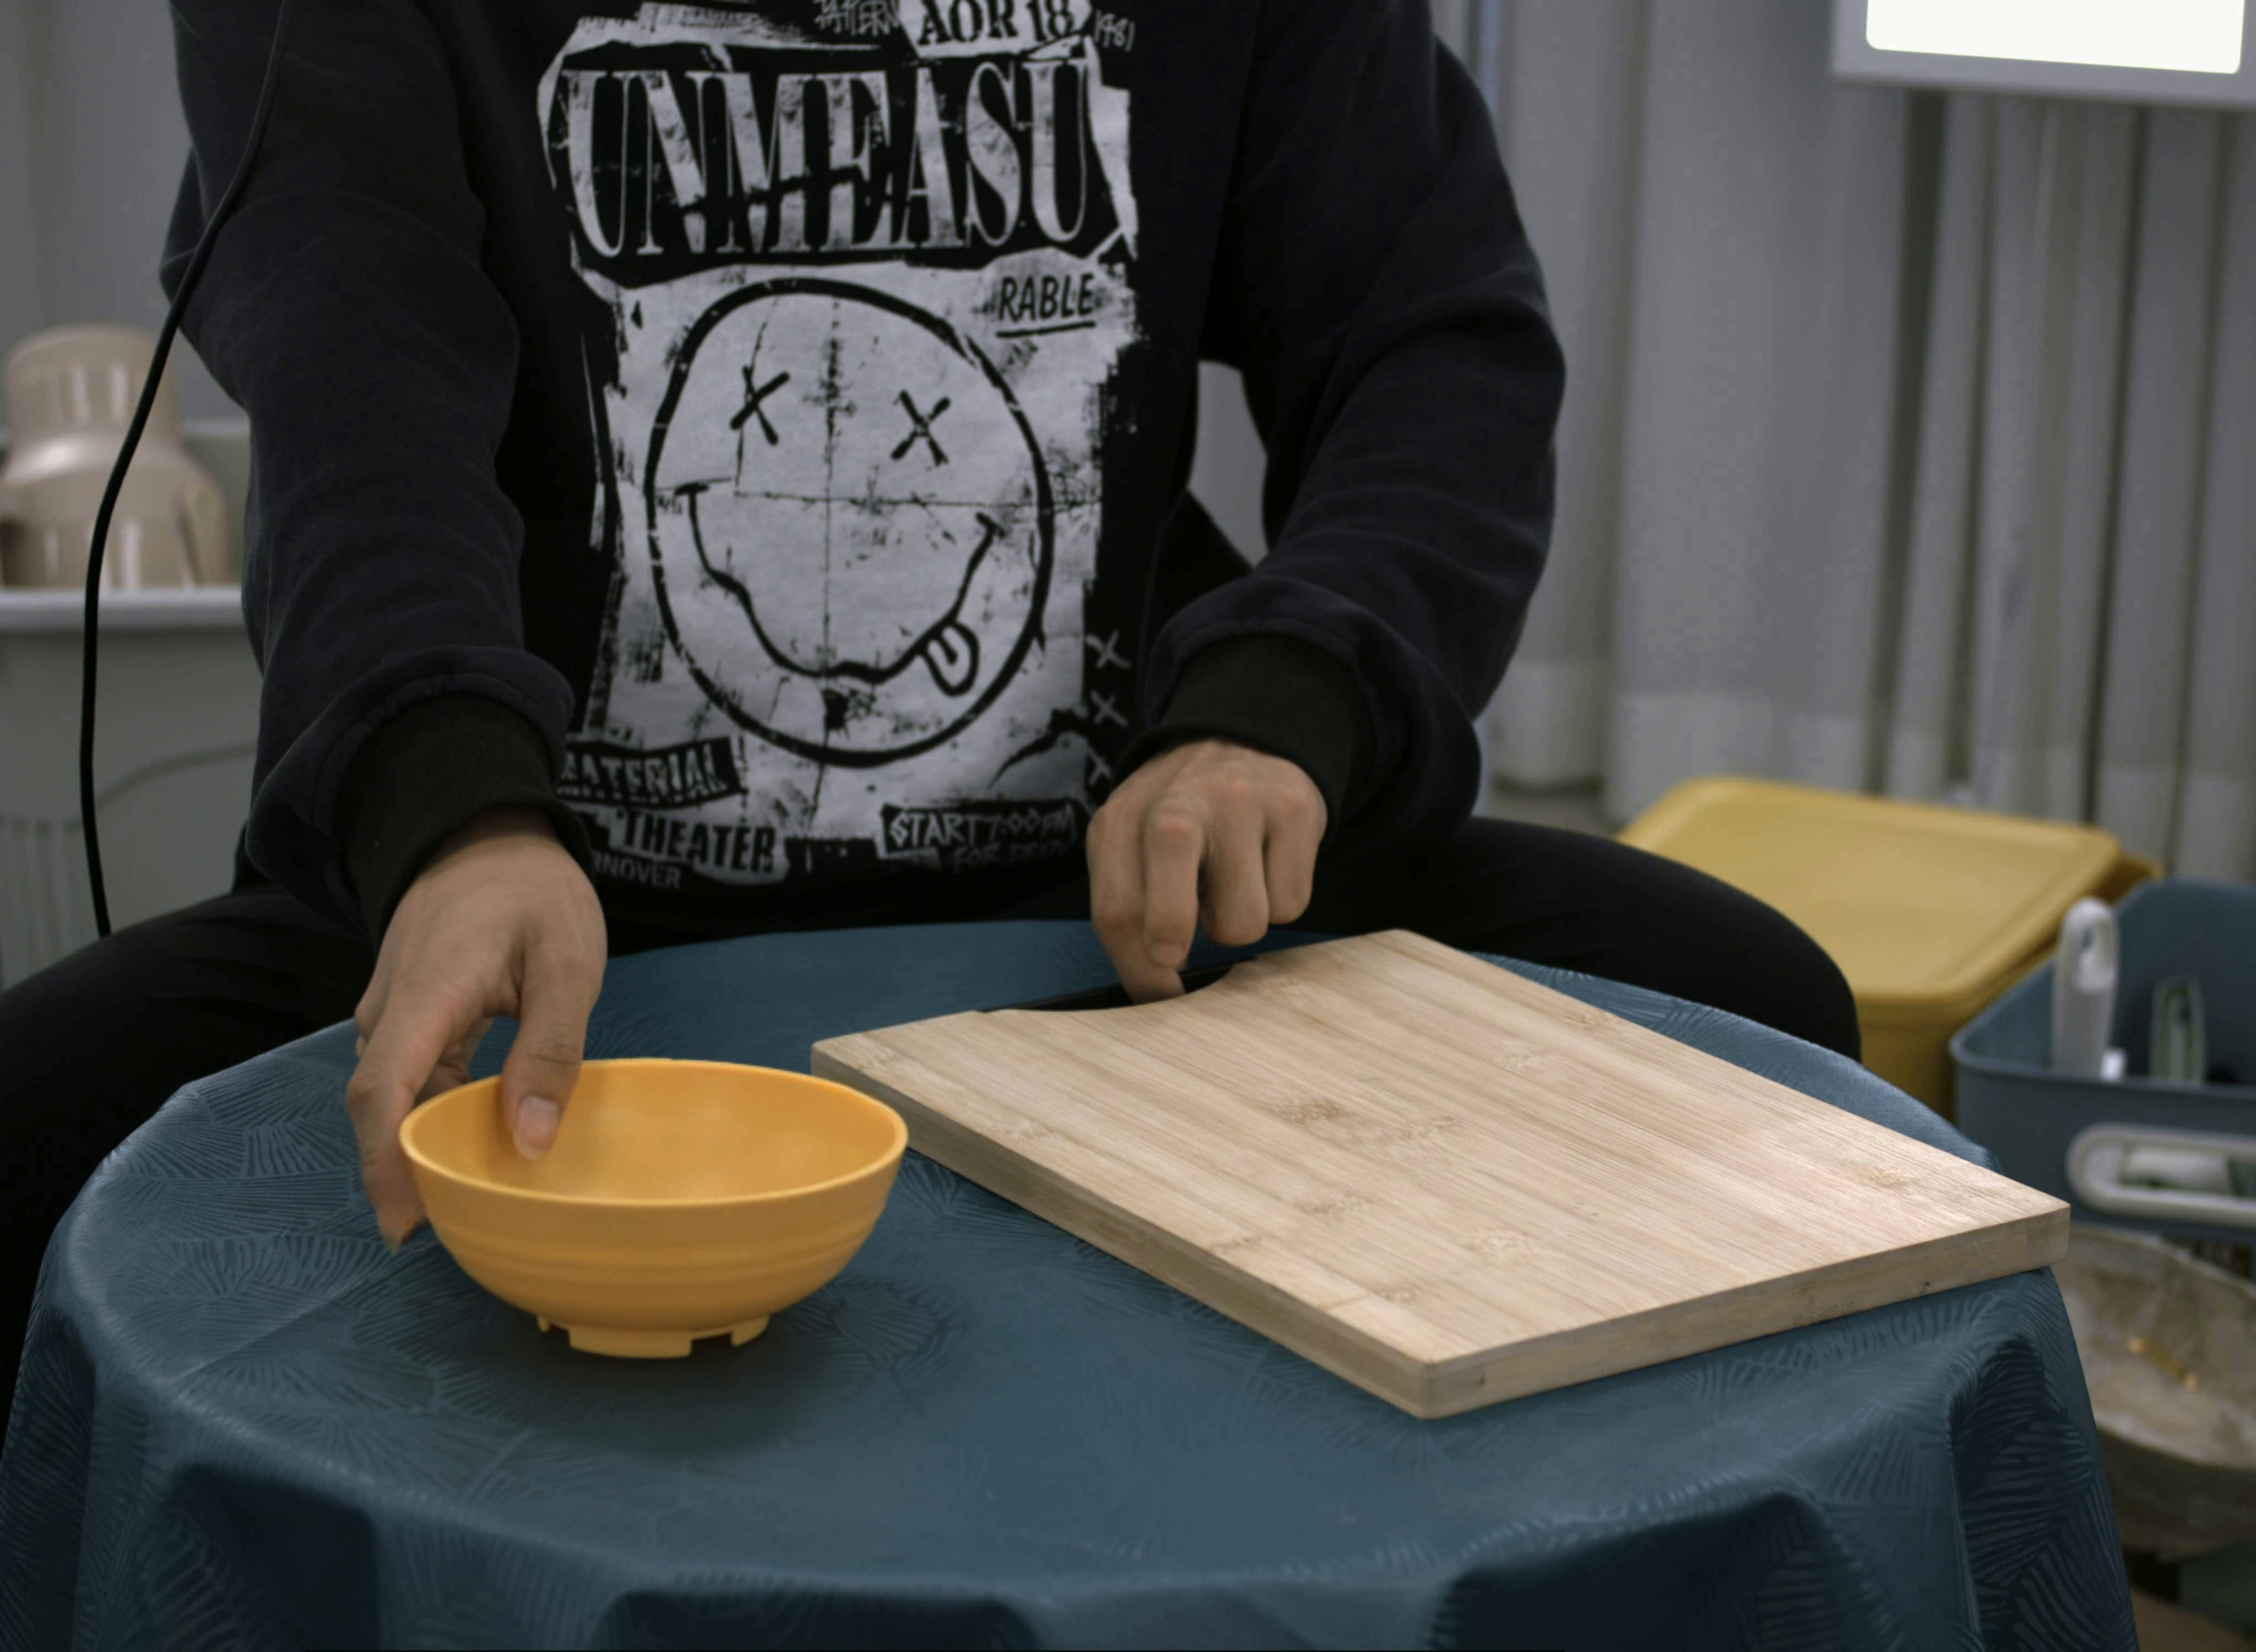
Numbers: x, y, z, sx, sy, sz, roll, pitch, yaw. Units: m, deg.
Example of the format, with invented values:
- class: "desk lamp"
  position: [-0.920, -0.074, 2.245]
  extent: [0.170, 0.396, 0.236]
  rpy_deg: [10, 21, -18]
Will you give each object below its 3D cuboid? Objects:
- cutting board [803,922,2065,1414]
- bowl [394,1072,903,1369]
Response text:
- class: "cutting board"
  position: [0.087, 0.099, 1.646]
  extent: [0.252, 0.024, 0.344]
  rpy_deg: [-10, 19, -34]
- class: "bowl"
  position: [-0.137, 0.116, 1.501]
  extent: [0.145, 0.060, 0.145]
  rpy_deg: [3, 12, 0]
